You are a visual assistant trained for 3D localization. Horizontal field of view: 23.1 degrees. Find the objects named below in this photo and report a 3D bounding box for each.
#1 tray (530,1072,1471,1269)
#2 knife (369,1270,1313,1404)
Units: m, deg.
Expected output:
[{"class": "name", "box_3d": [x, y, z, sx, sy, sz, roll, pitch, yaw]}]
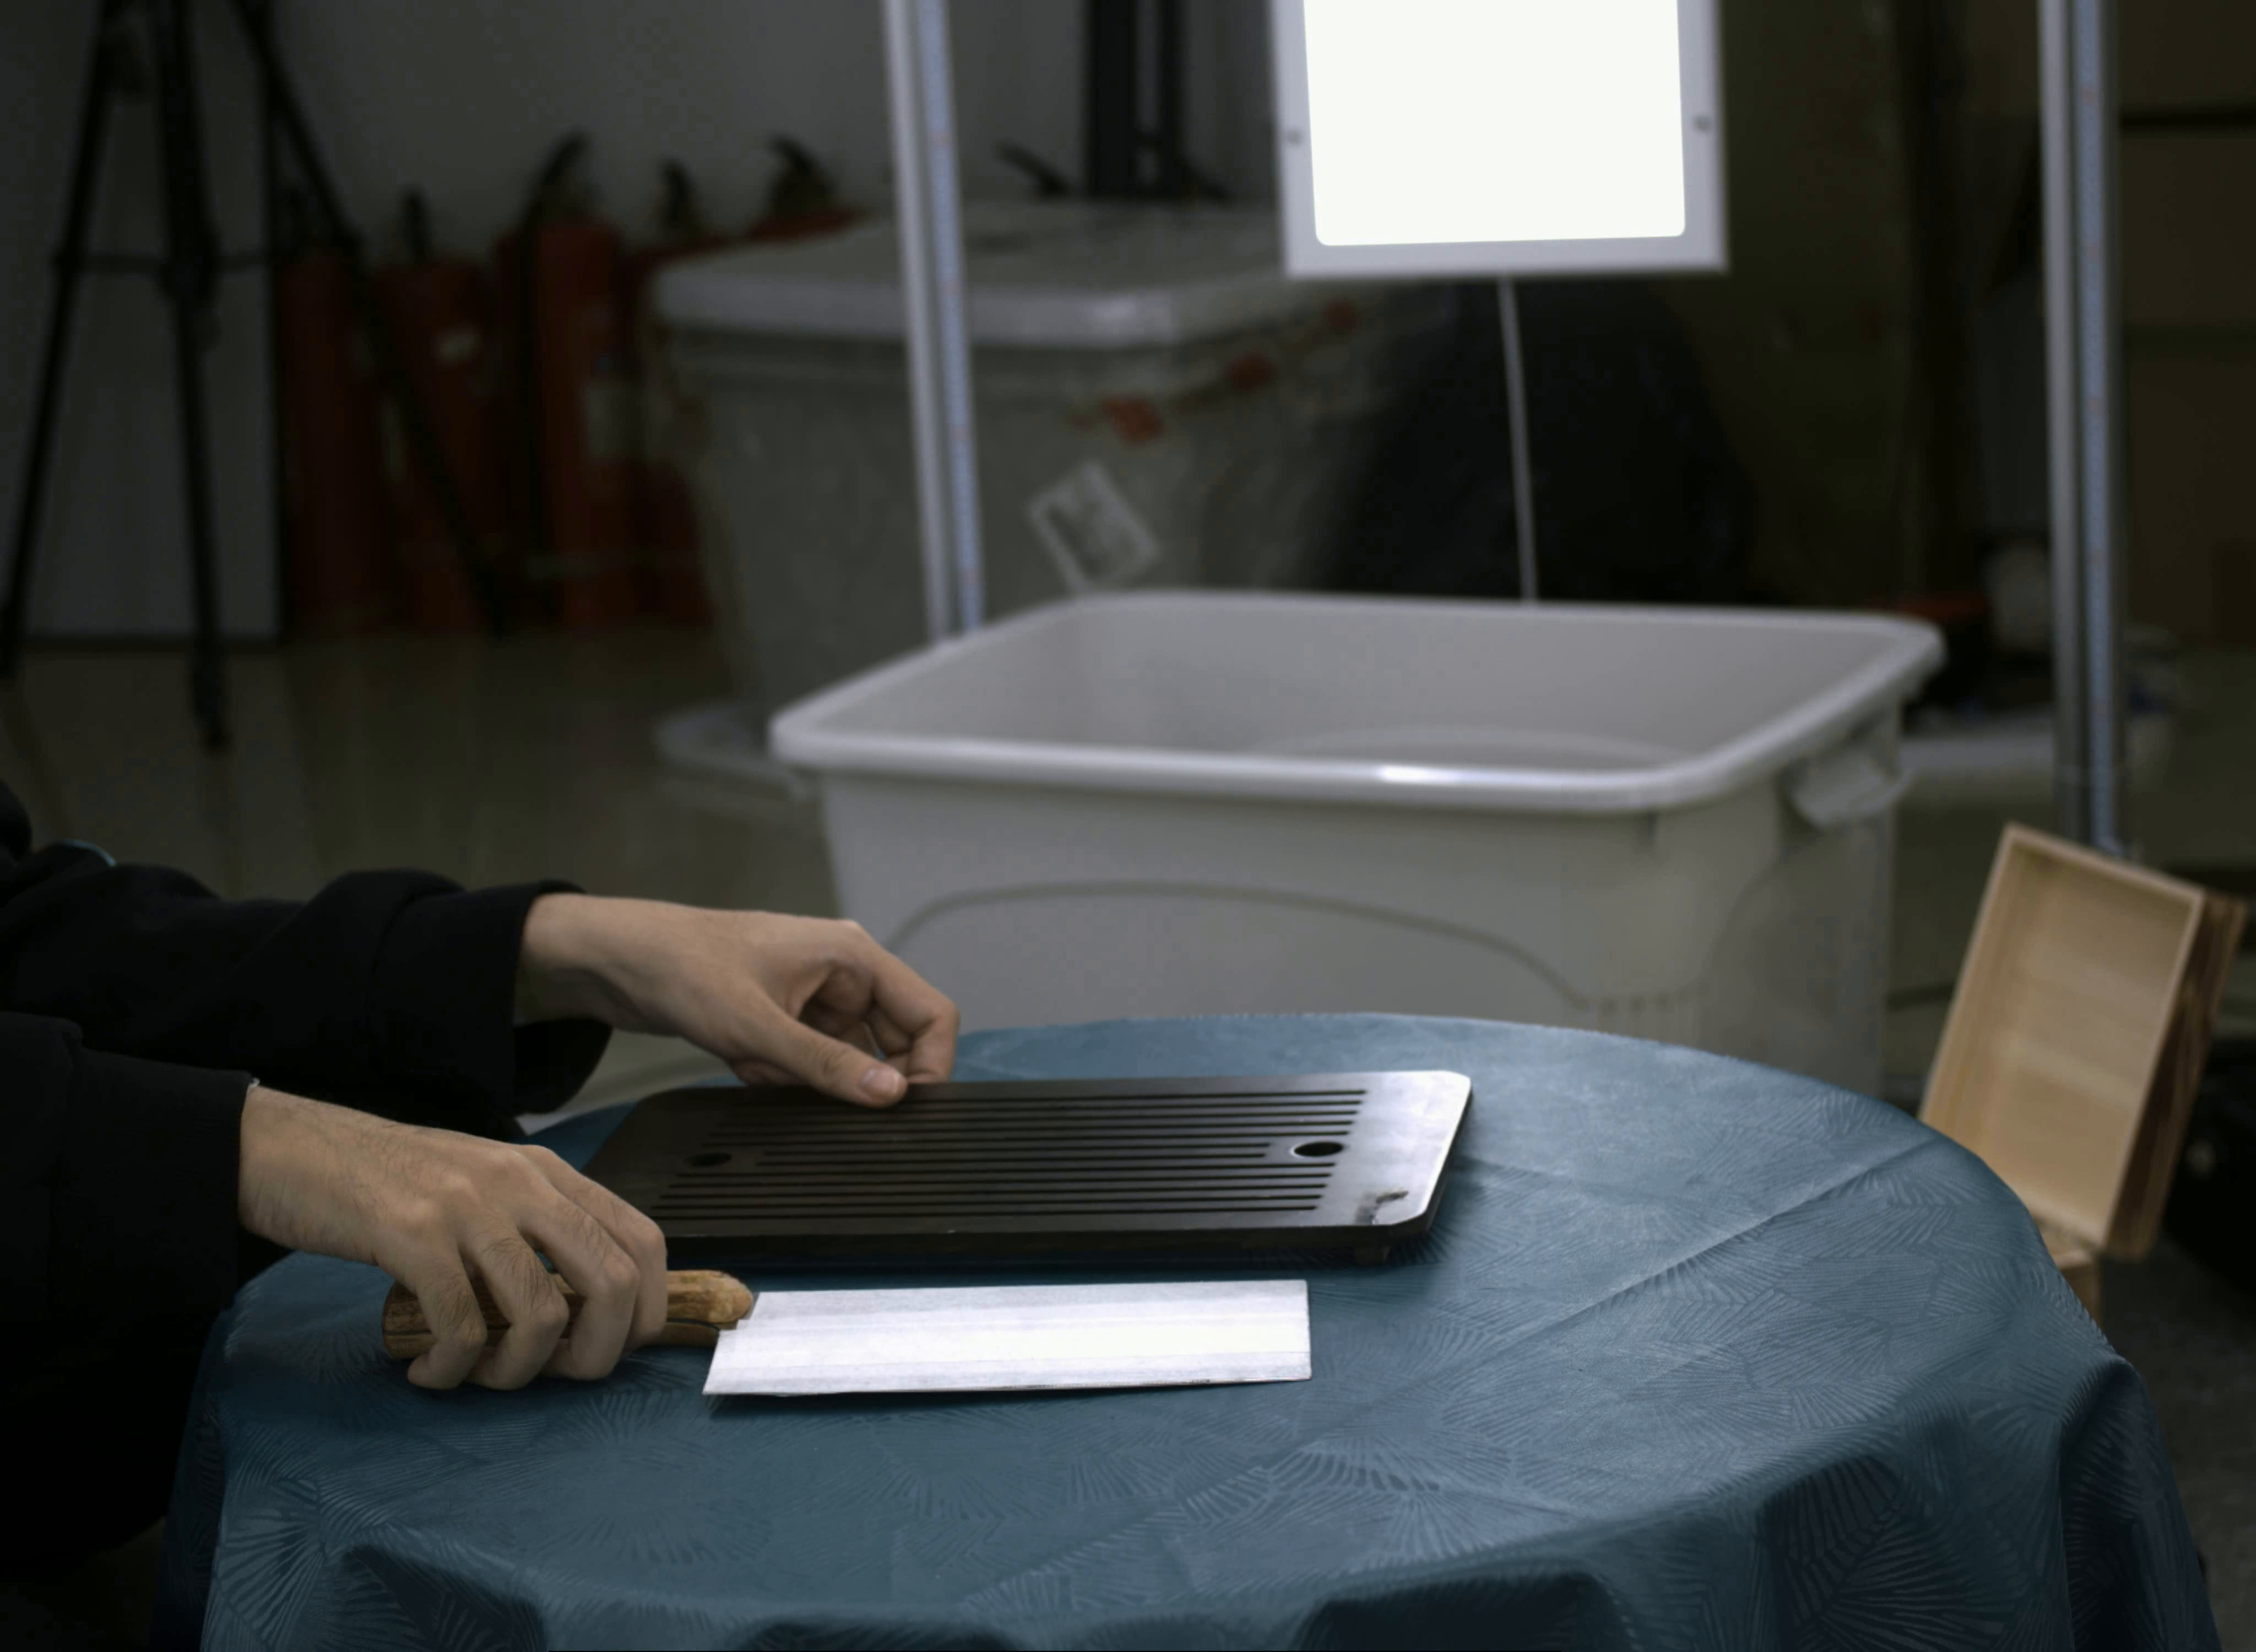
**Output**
[{"class": "tray", "box_3d": [-0.040, 0.119, 1.902, 0.308, 0.019, 0.168, -2, 15, 13]}, {"class": "knife", "box_3d": [-0.094, 0.163, 1.751, 0.306, 0.021, 0.092, -2, 15, 4]}]
